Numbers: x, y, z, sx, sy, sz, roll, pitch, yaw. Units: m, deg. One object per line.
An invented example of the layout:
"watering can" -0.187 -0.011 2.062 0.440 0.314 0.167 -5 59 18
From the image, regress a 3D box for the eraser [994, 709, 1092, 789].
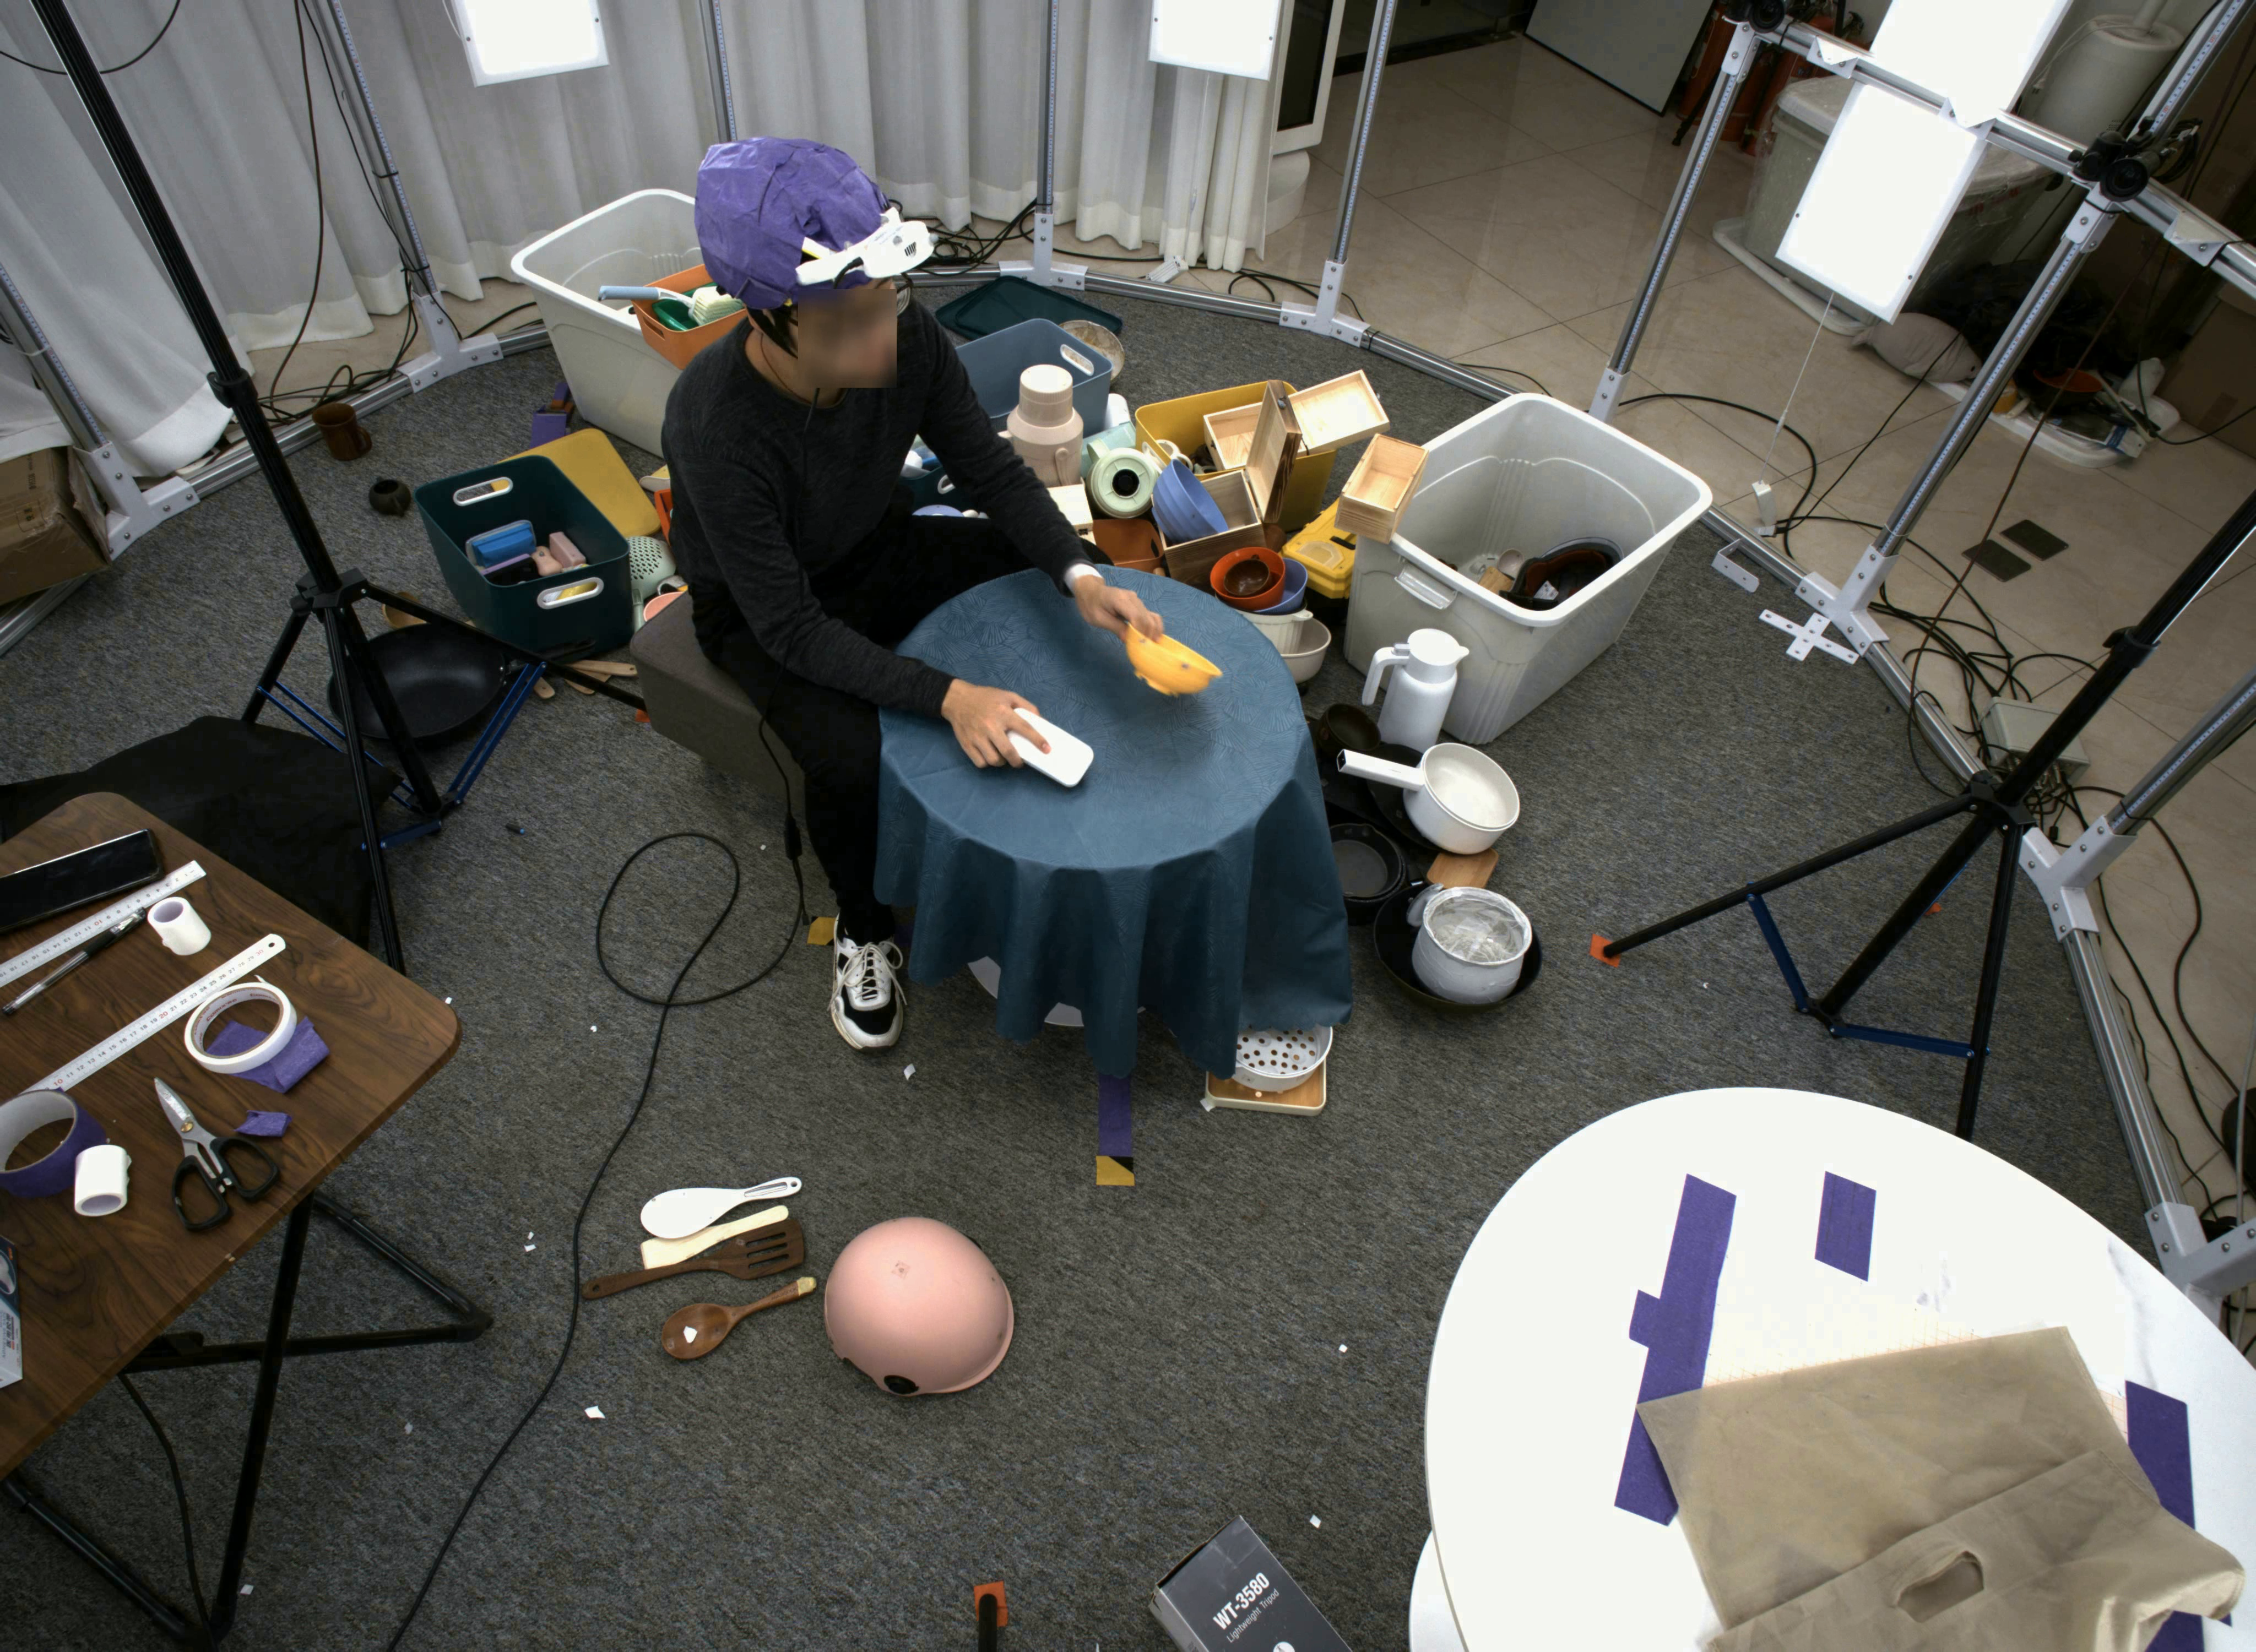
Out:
"eraser" -0.113 -0.104 1.715 0.132 0.034 0.064 32 71 12

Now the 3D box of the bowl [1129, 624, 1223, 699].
"bowl" 0.056 -0.217 1.768 0.144 0.059 0.147 26 17 -9
